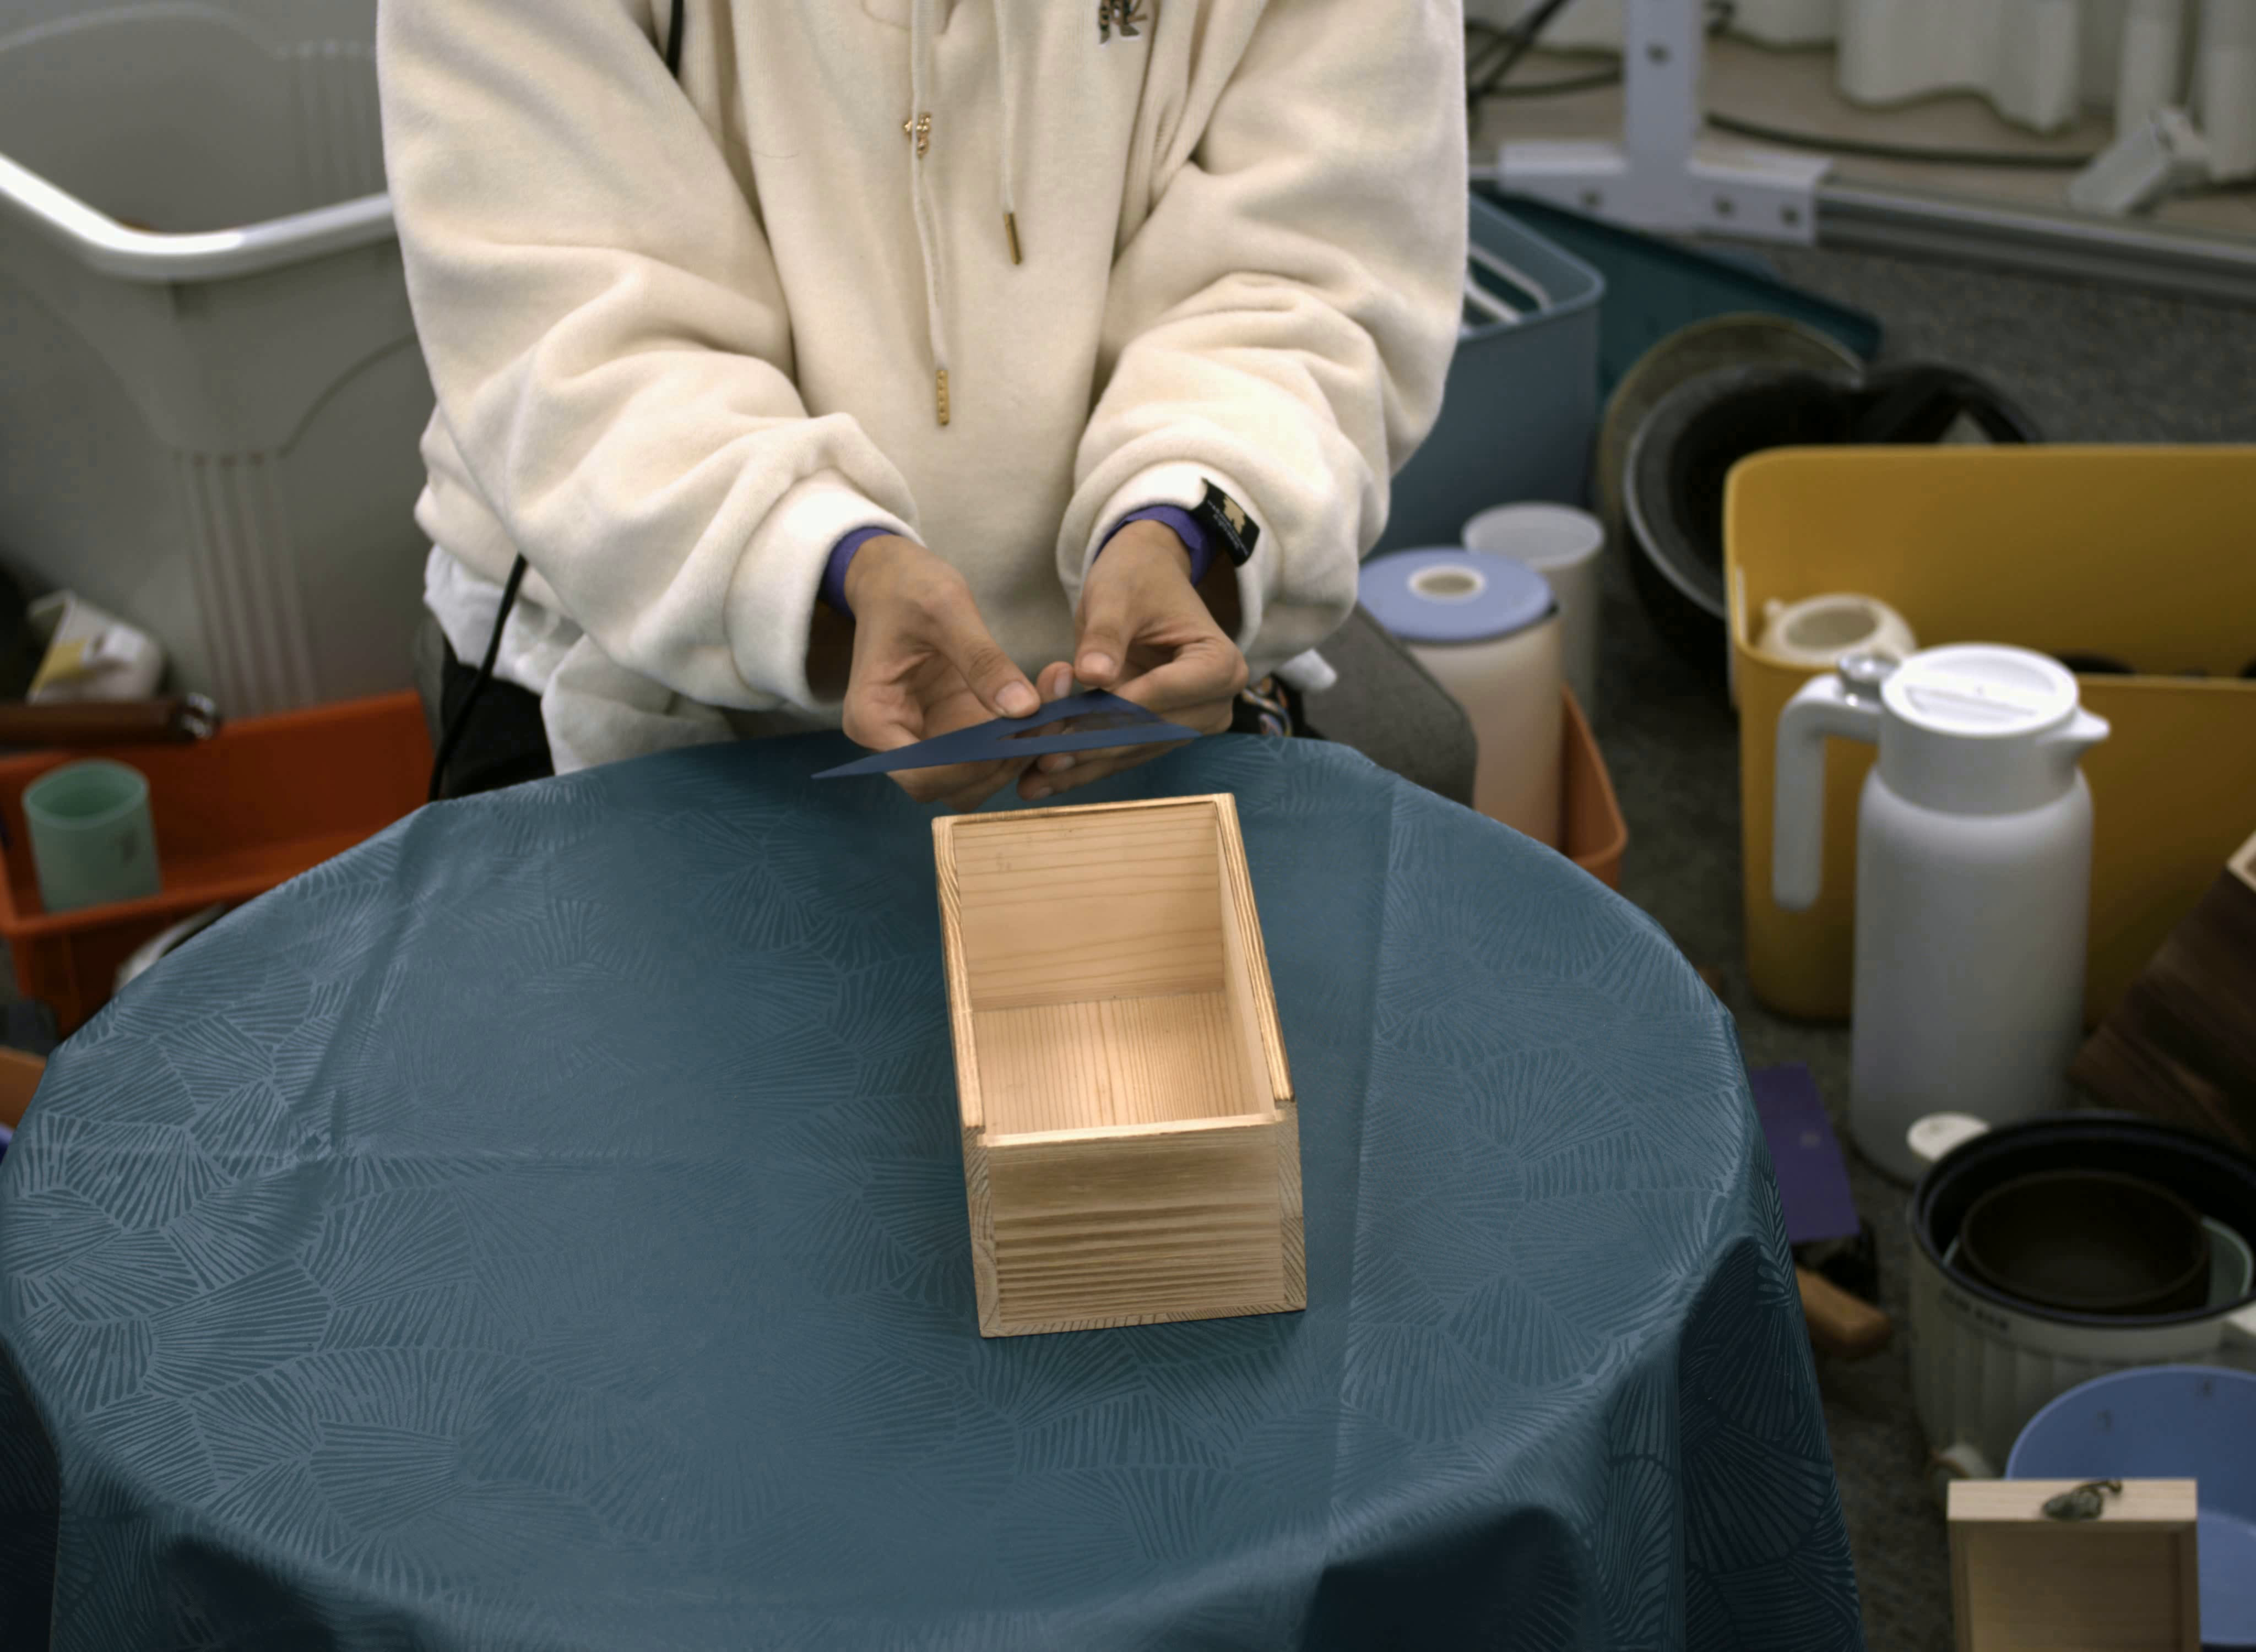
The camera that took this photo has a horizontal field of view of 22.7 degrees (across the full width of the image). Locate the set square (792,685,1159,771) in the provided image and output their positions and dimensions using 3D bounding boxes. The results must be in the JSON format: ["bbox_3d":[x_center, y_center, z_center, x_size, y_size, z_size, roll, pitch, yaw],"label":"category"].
[{"bbox_3d":[-0.053,-0.037,1.996,0.131,0.006,0.062,-5,22,4],"label":"set square"}]

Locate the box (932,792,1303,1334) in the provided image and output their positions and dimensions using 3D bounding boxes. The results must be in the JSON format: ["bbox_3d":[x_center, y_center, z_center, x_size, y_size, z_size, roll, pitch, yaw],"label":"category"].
[{"bbox_3d":[-0.006,0.075,1.866,0.107,0.079,0.214,-4,28,-3],"label":"box"}]
